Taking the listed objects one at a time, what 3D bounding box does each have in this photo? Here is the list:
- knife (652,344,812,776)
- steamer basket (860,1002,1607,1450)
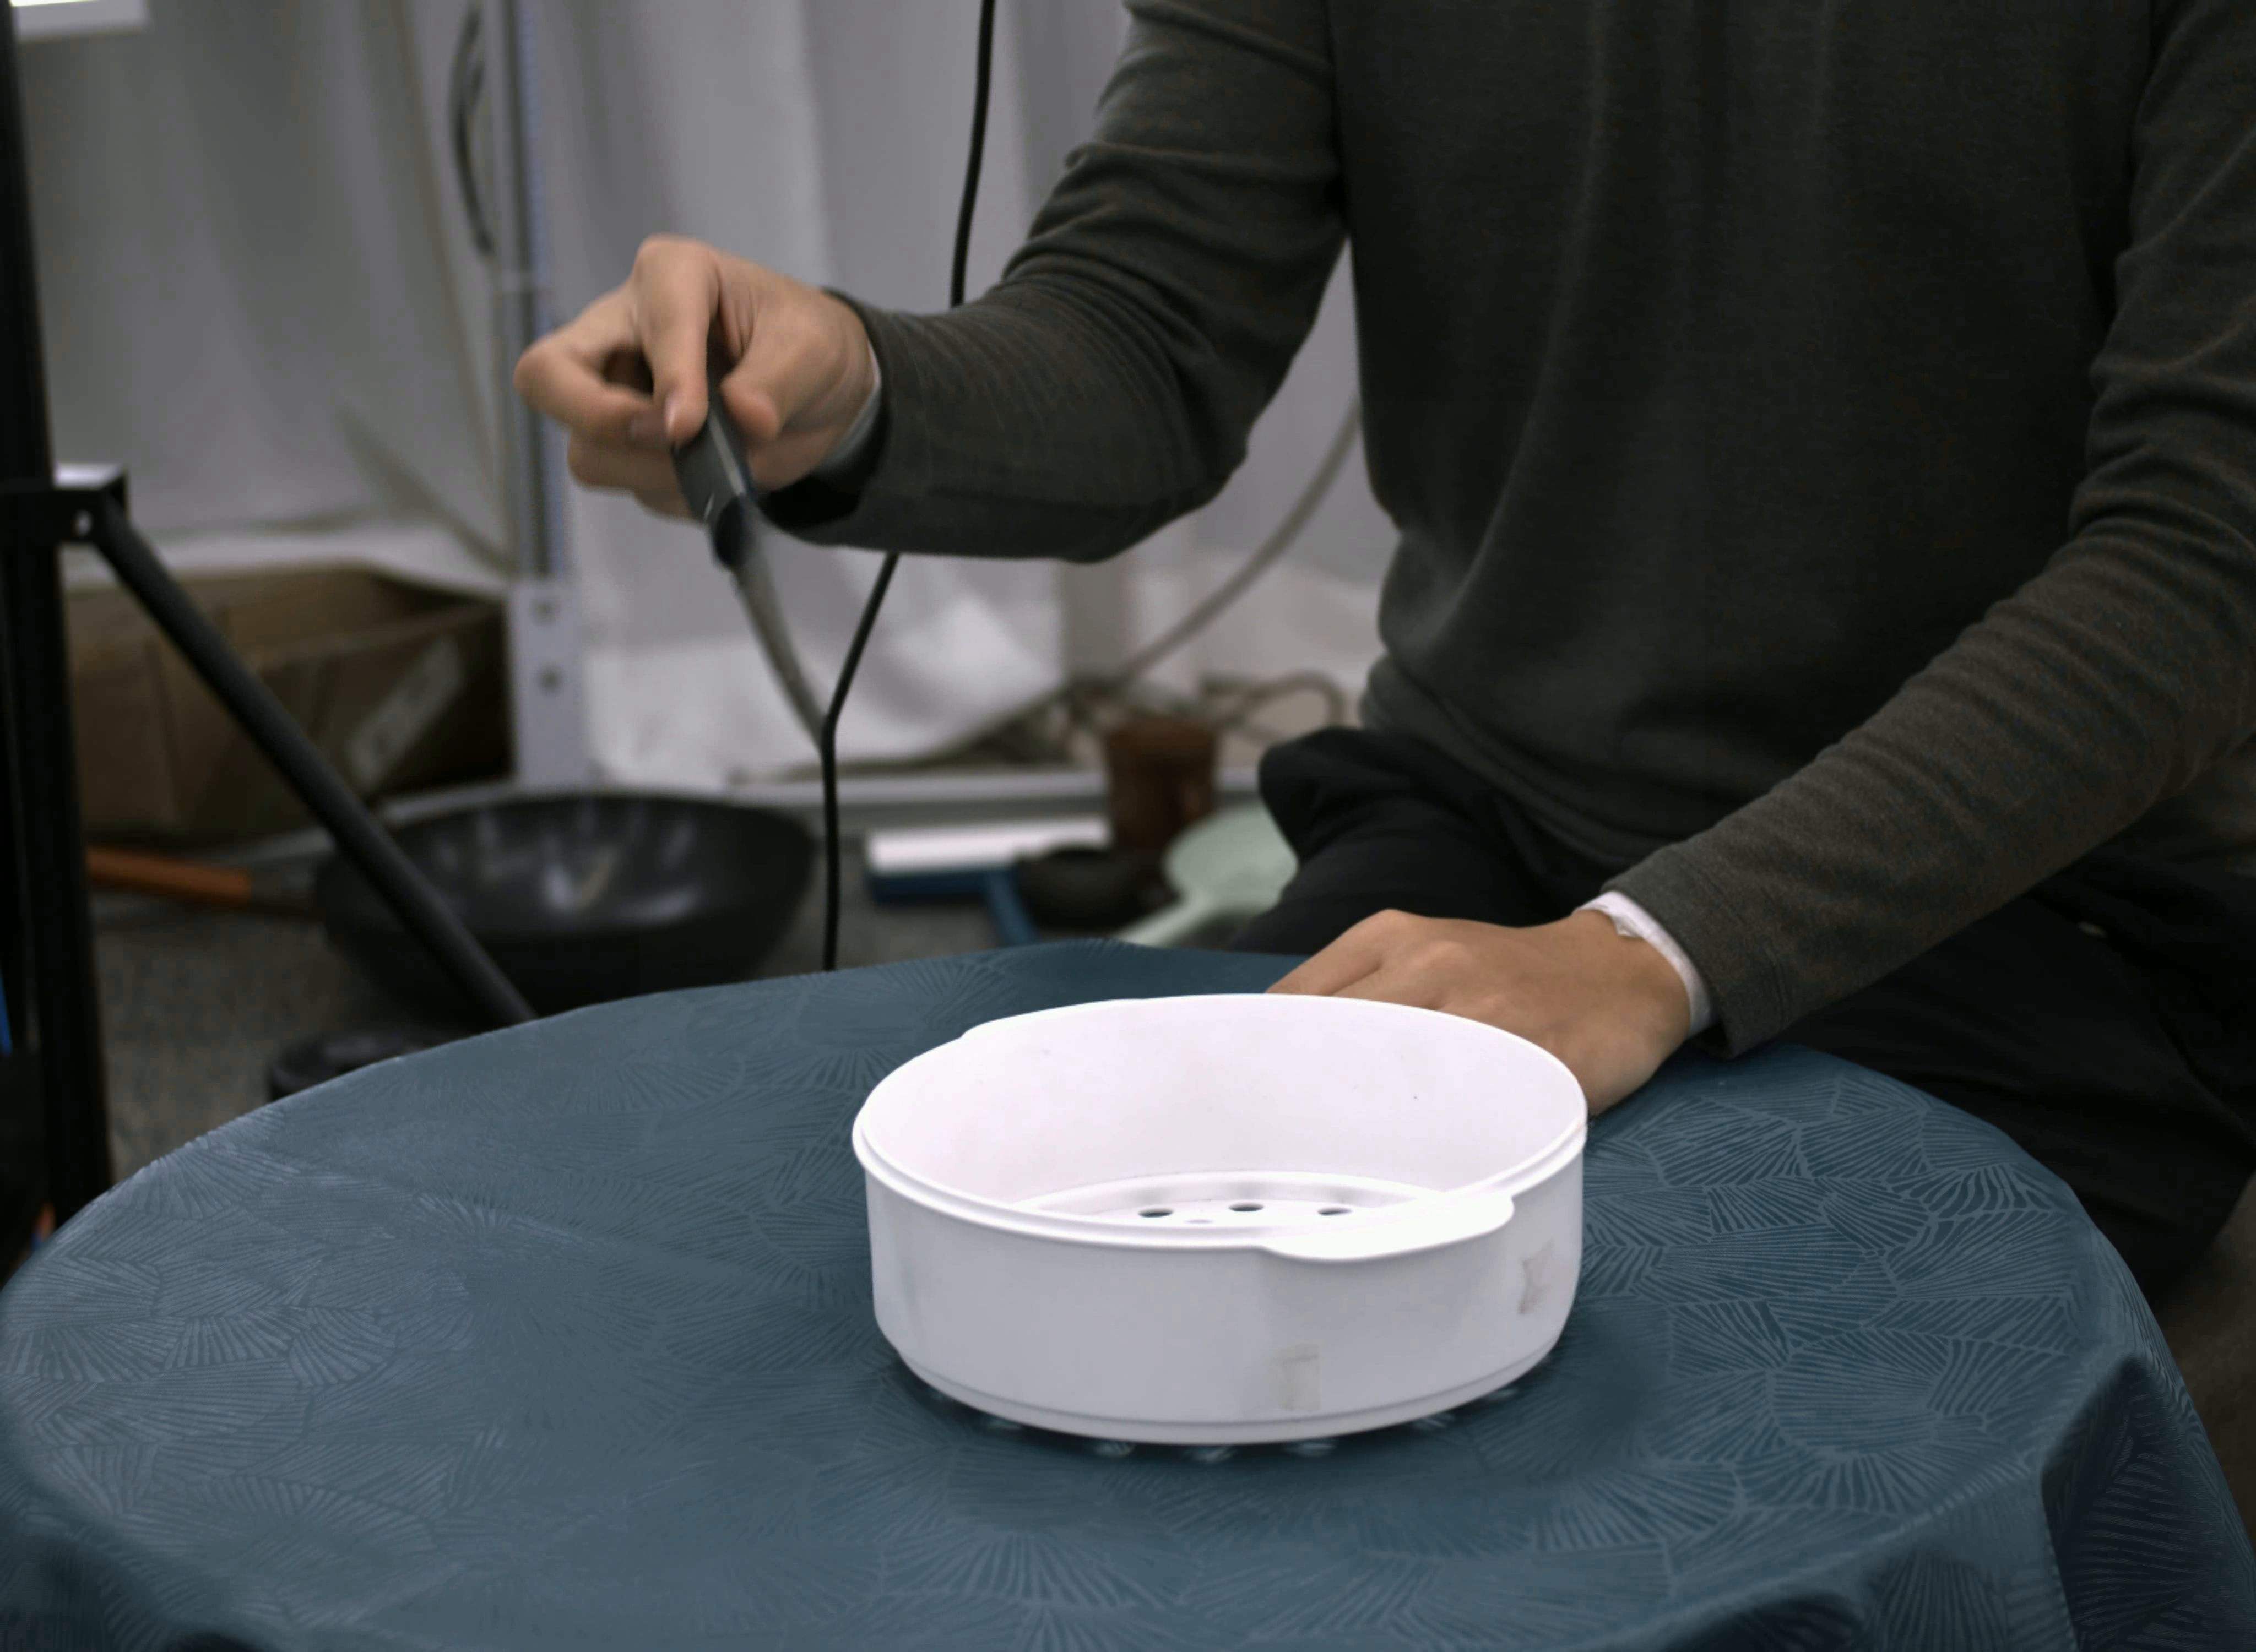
[{"bbox_3d":[-0.107,-0.077,1.472,0.016,0.024,0.242,8,28,-19],"label":"knife"},{"bbox_3d":[0.029,0.107,1.434,0.198,0.069,0.235,-8,16,-22],"label":"steamer basket"}]
